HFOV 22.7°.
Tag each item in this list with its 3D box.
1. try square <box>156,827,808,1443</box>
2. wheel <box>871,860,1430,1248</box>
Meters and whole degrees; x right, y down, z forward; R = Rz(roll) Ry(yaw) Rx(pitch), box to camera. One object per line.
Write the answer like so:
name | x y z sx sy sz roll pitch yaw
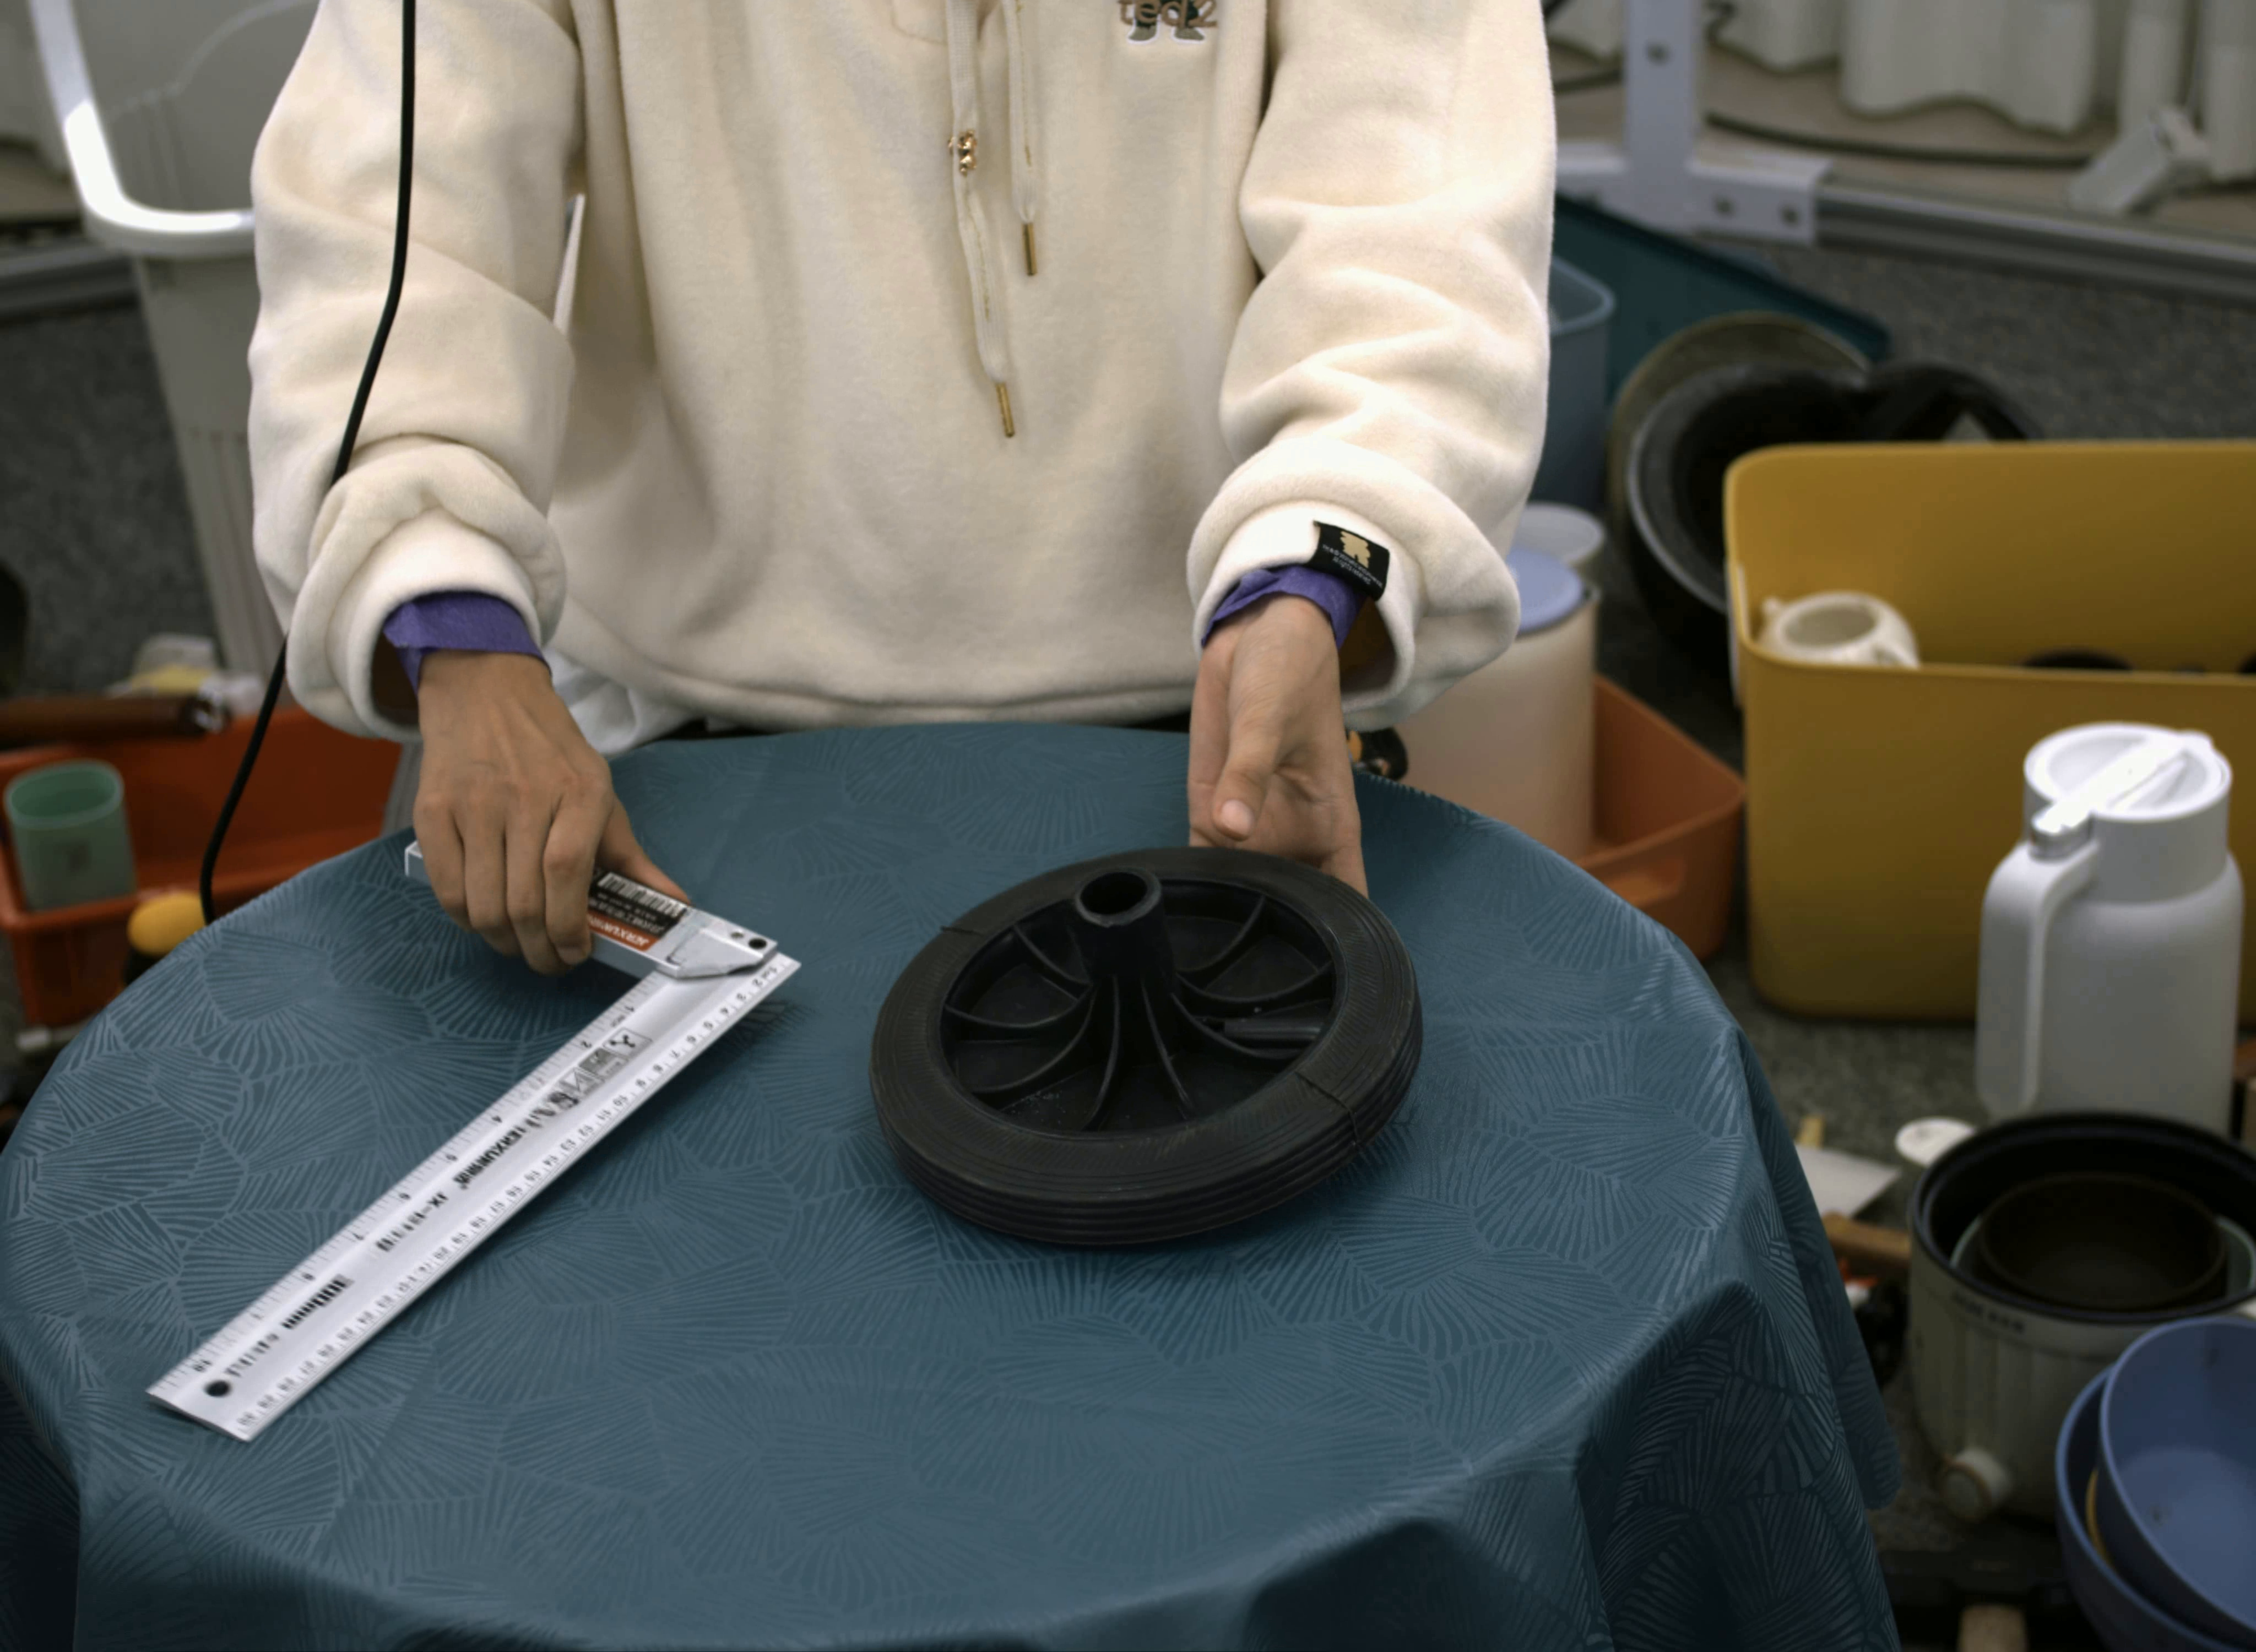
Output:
try square | -0.255 0.098 1.895 0.152 0.015 0.318 19 37 25
wheel | 0.004 0.057 1.883 0.189 0.078 0.190 -13 35 -5
